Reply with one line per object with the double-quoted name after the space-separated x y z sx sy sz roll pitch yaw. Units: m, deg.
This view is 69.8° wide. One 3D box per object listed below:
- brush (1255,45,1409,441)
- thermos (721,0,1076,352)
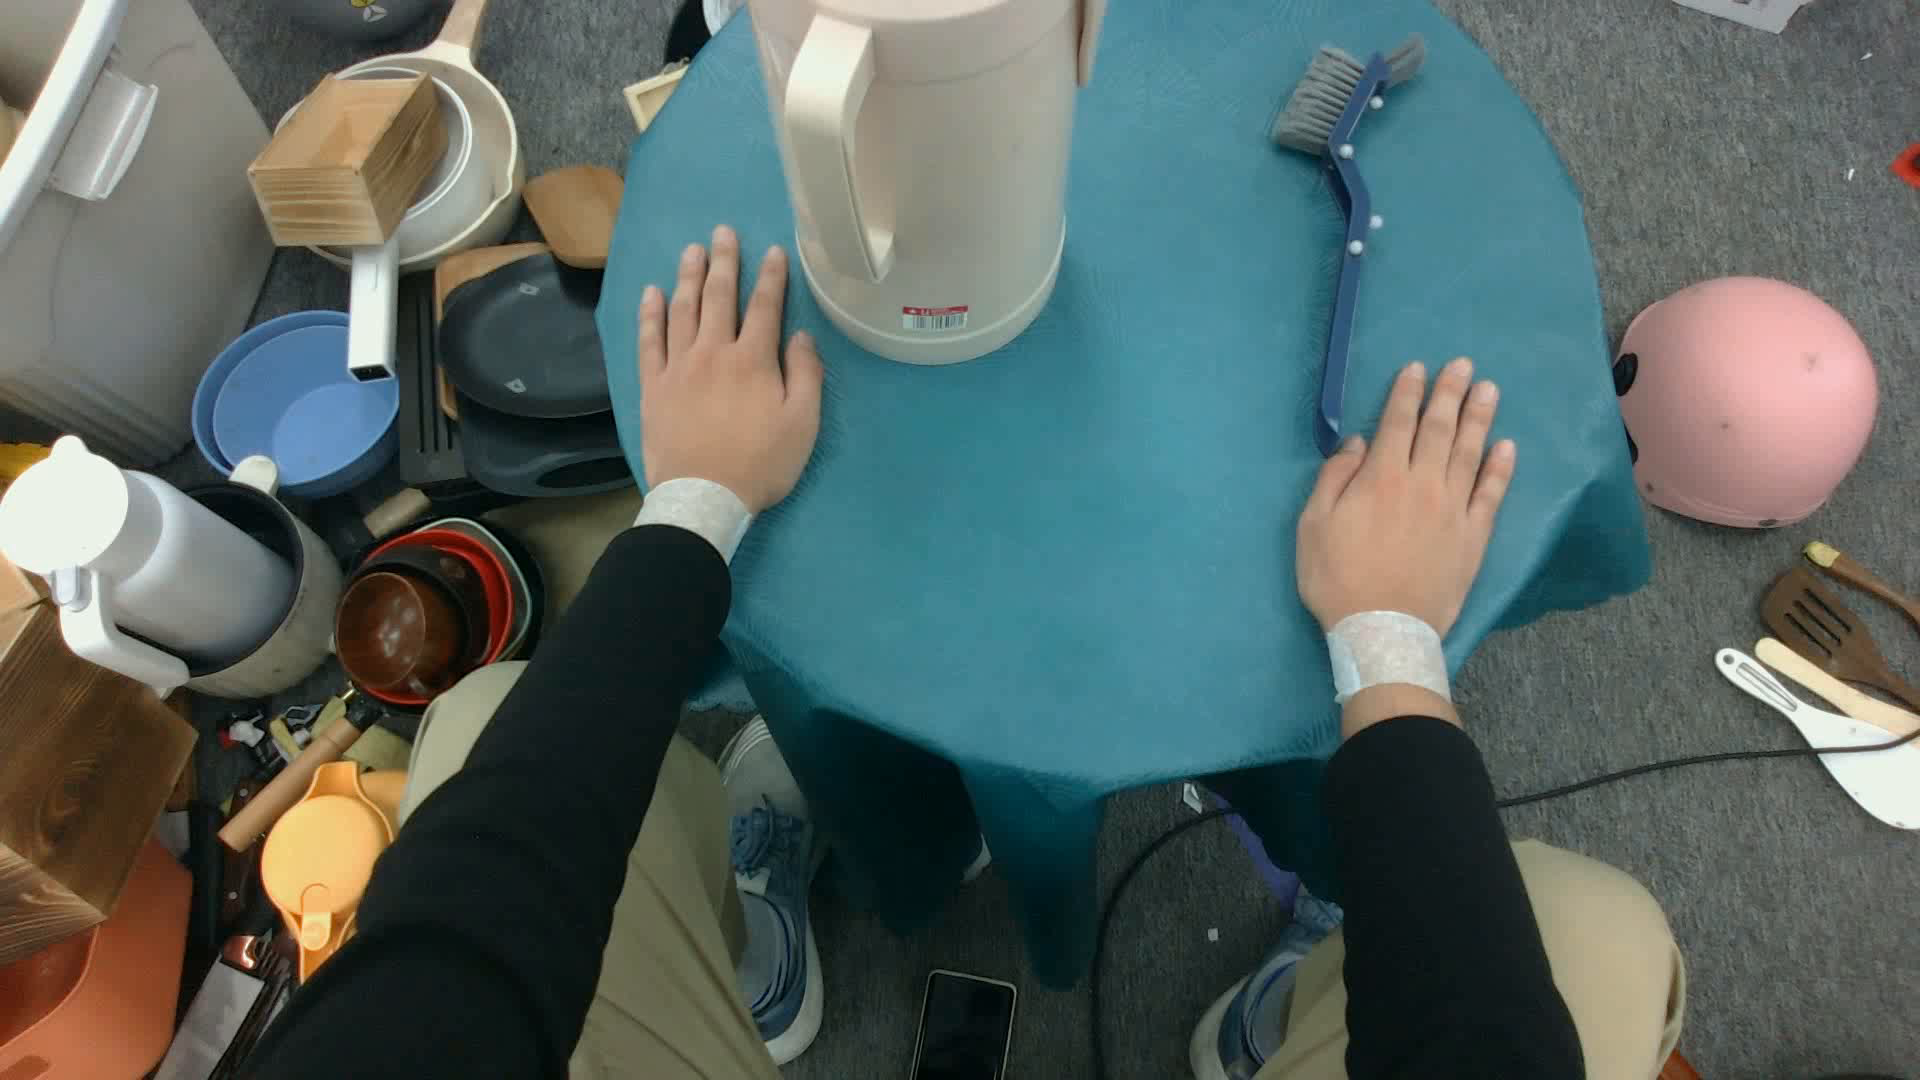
0.227 -0.186 0.826 0.096 0.033 0.274 3 69 2 "brush"
-0.038 -0.234 0.647 0.175 0.405 0.207 18 72 4 "thermos"
